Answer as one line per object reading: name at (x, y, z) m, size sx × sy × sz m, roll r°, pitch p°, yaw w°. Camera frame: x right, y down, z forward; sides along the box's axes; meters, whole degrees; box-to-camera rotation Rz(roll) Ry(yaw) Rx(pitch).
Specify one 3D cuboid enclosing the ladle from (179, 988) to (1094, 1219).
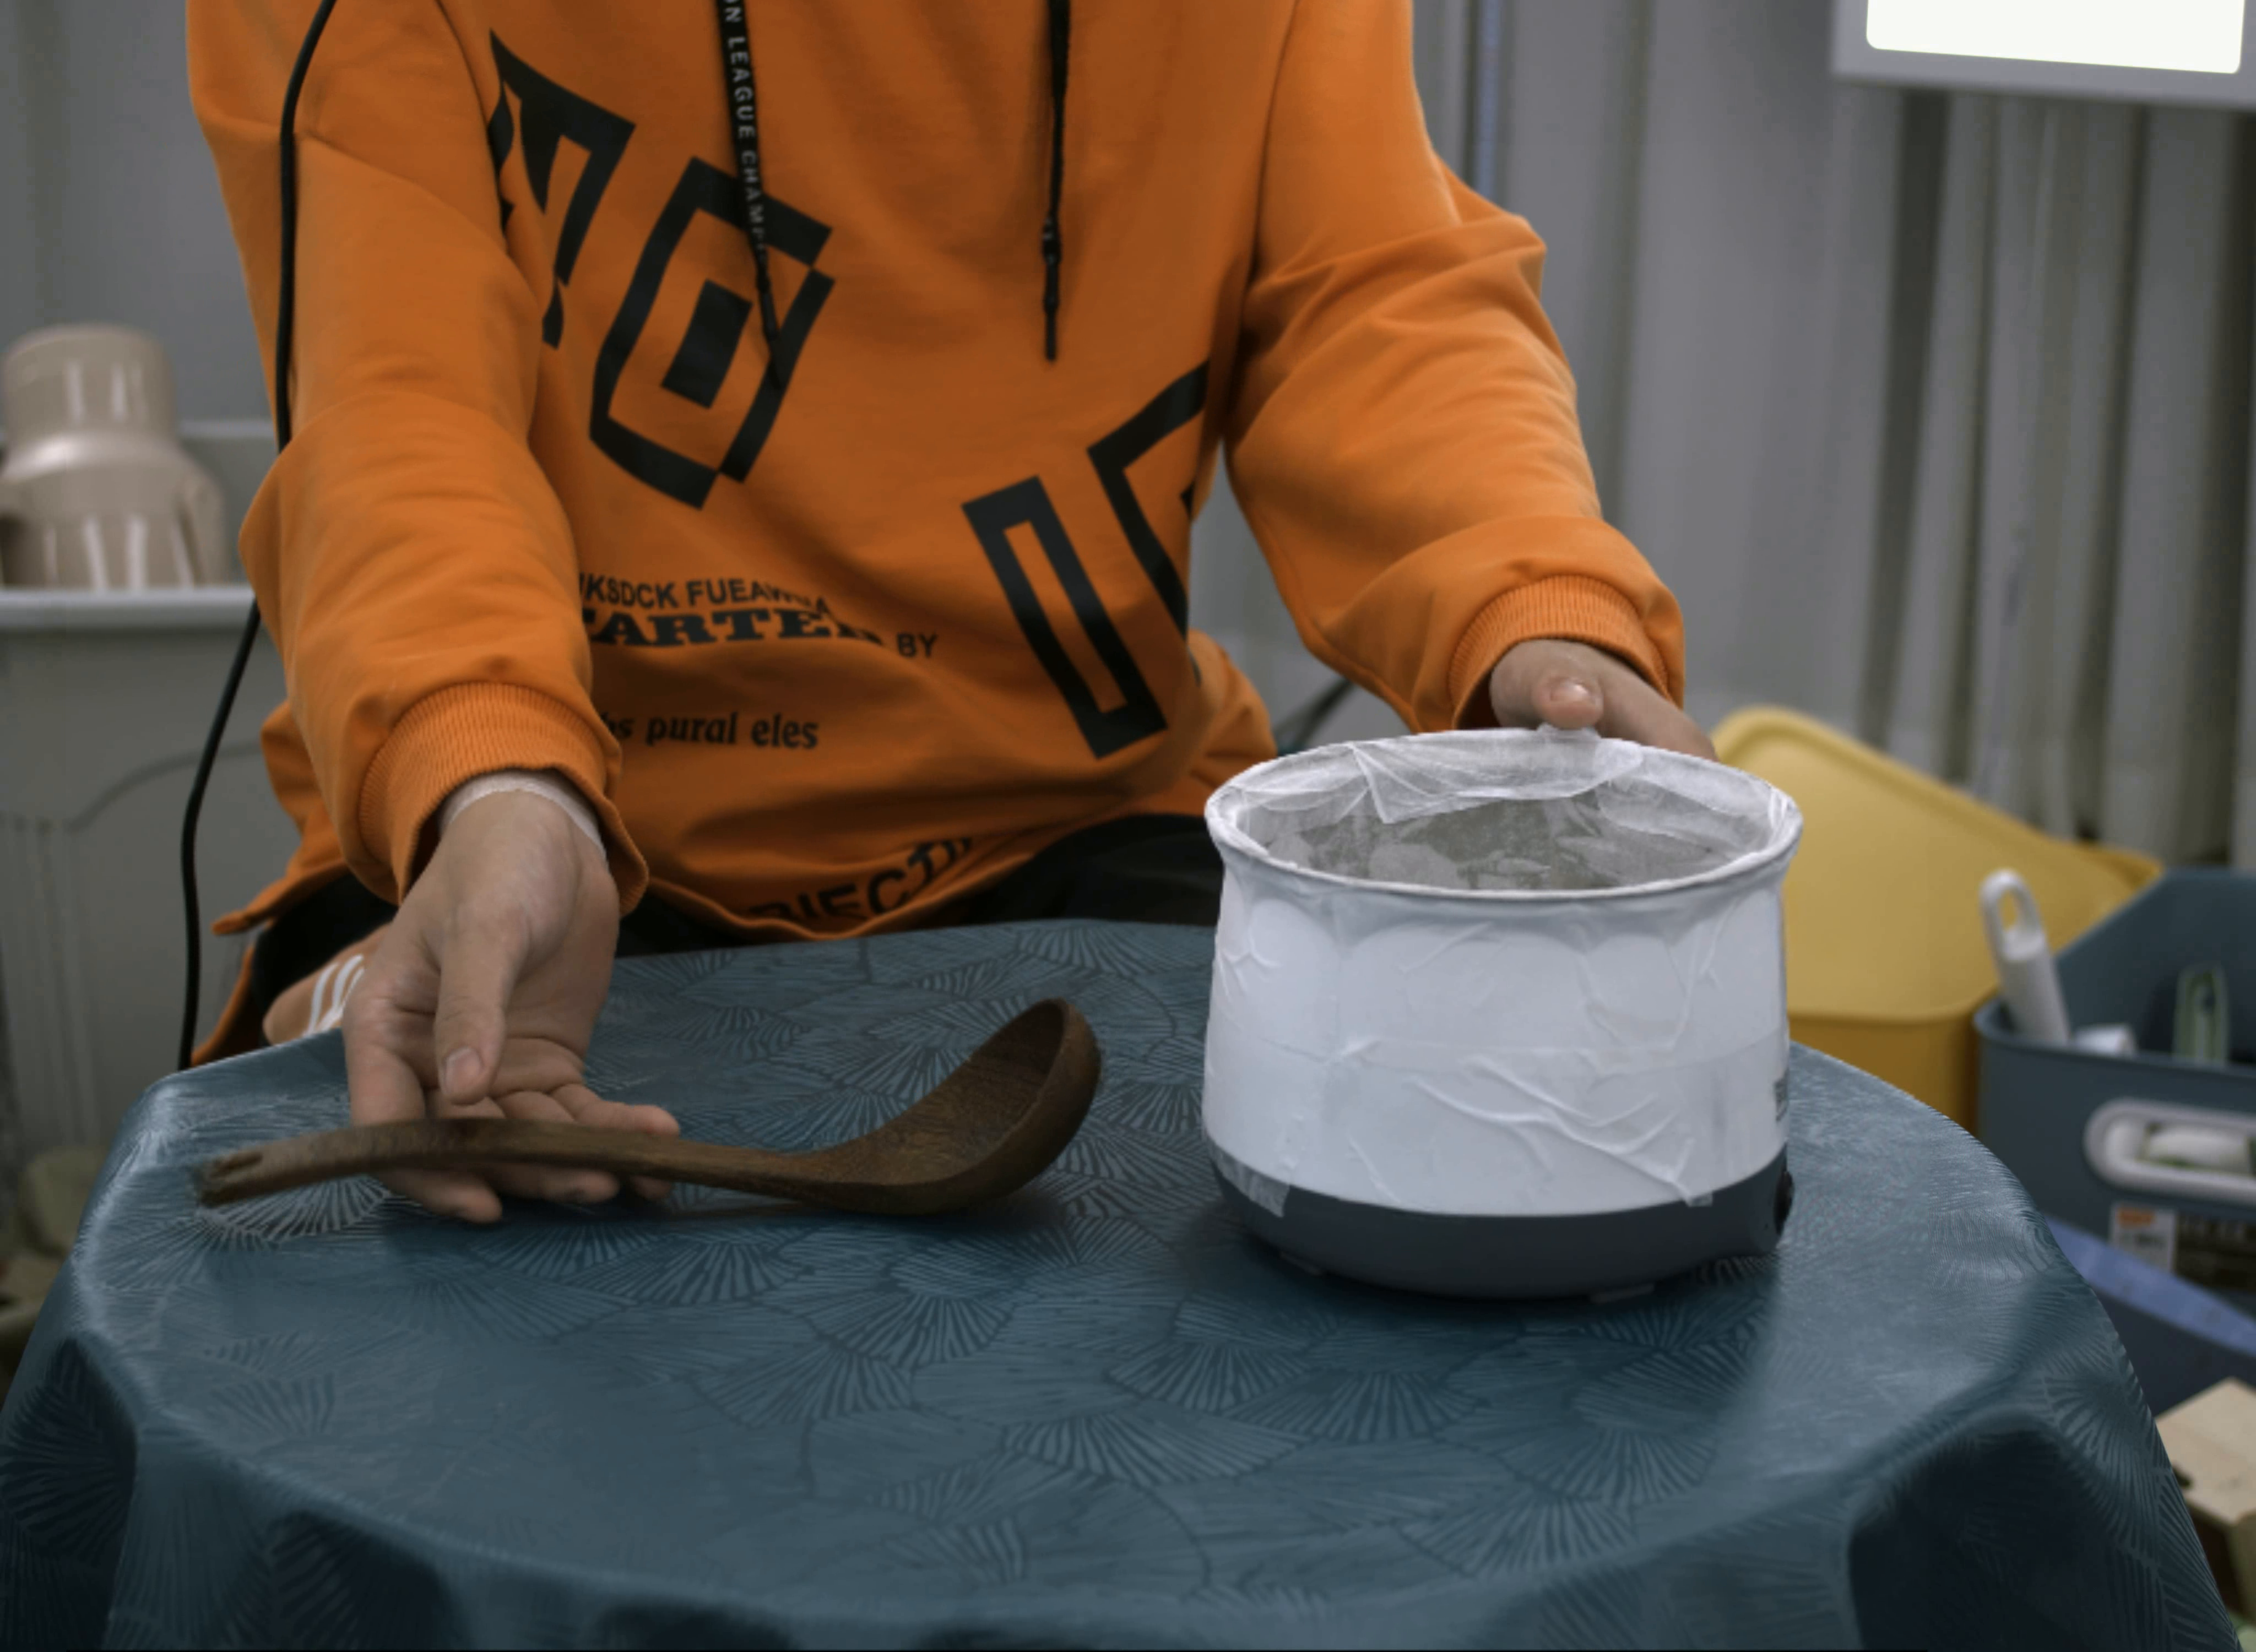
ladle at (-0.147, 0.083, 1.584) m, size 0.274 × 0.072 × 0.075 m, roll 1°, pitch 17°, yaw -8°

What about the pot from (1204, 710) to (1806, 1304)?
pot at (0.117, 0.048, 1.598) m, size 0.177 × 0.138 × 0.233 m, roll 5°, pitch 17°, yaw 12°
